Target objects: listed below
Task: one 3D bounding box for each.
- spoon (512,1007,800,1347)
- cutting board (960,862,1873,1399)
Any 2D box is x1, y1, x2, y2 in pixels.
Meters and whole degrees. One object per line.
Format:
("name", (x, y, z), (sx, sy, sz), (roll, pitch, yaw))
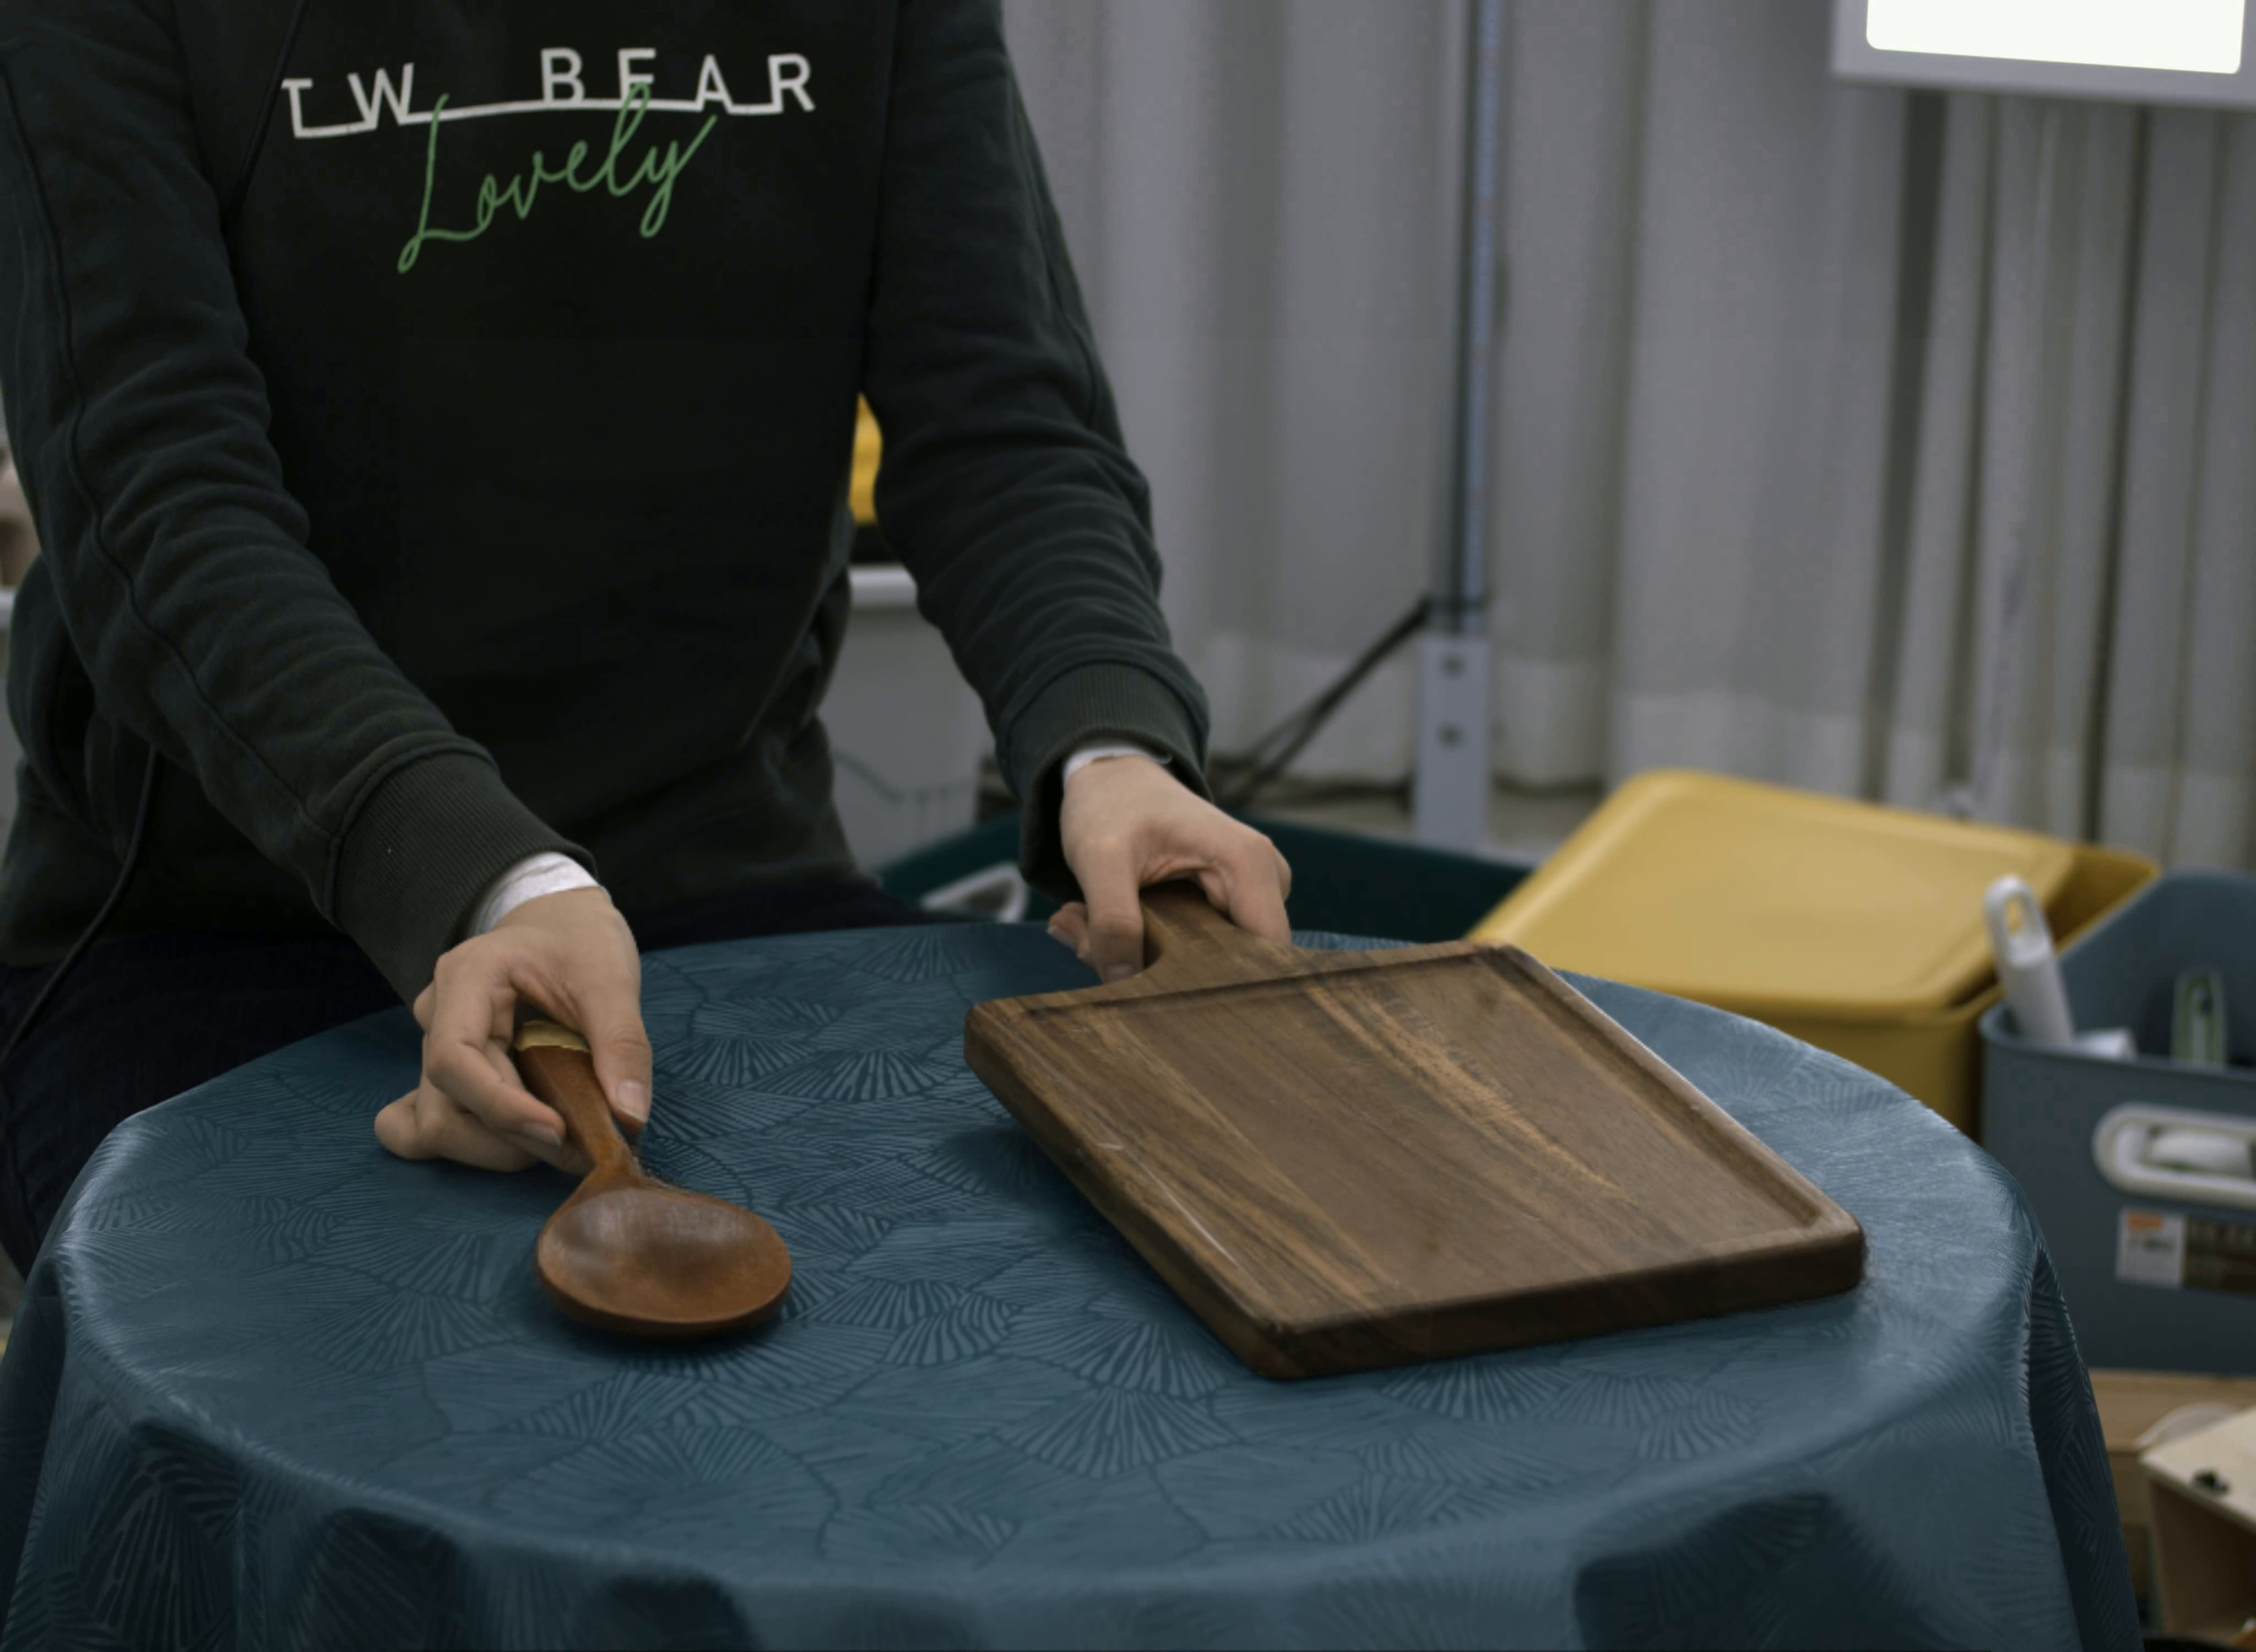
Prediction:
("spoon", (-0.152, 0.105, 1.577), (0.075, 0.017, 0.213), (-6, 25, -17))
("cutting board", (0.064, 0.081, 1.651), (0.201, 0.023, 0.348), (-8, 23, -21))
